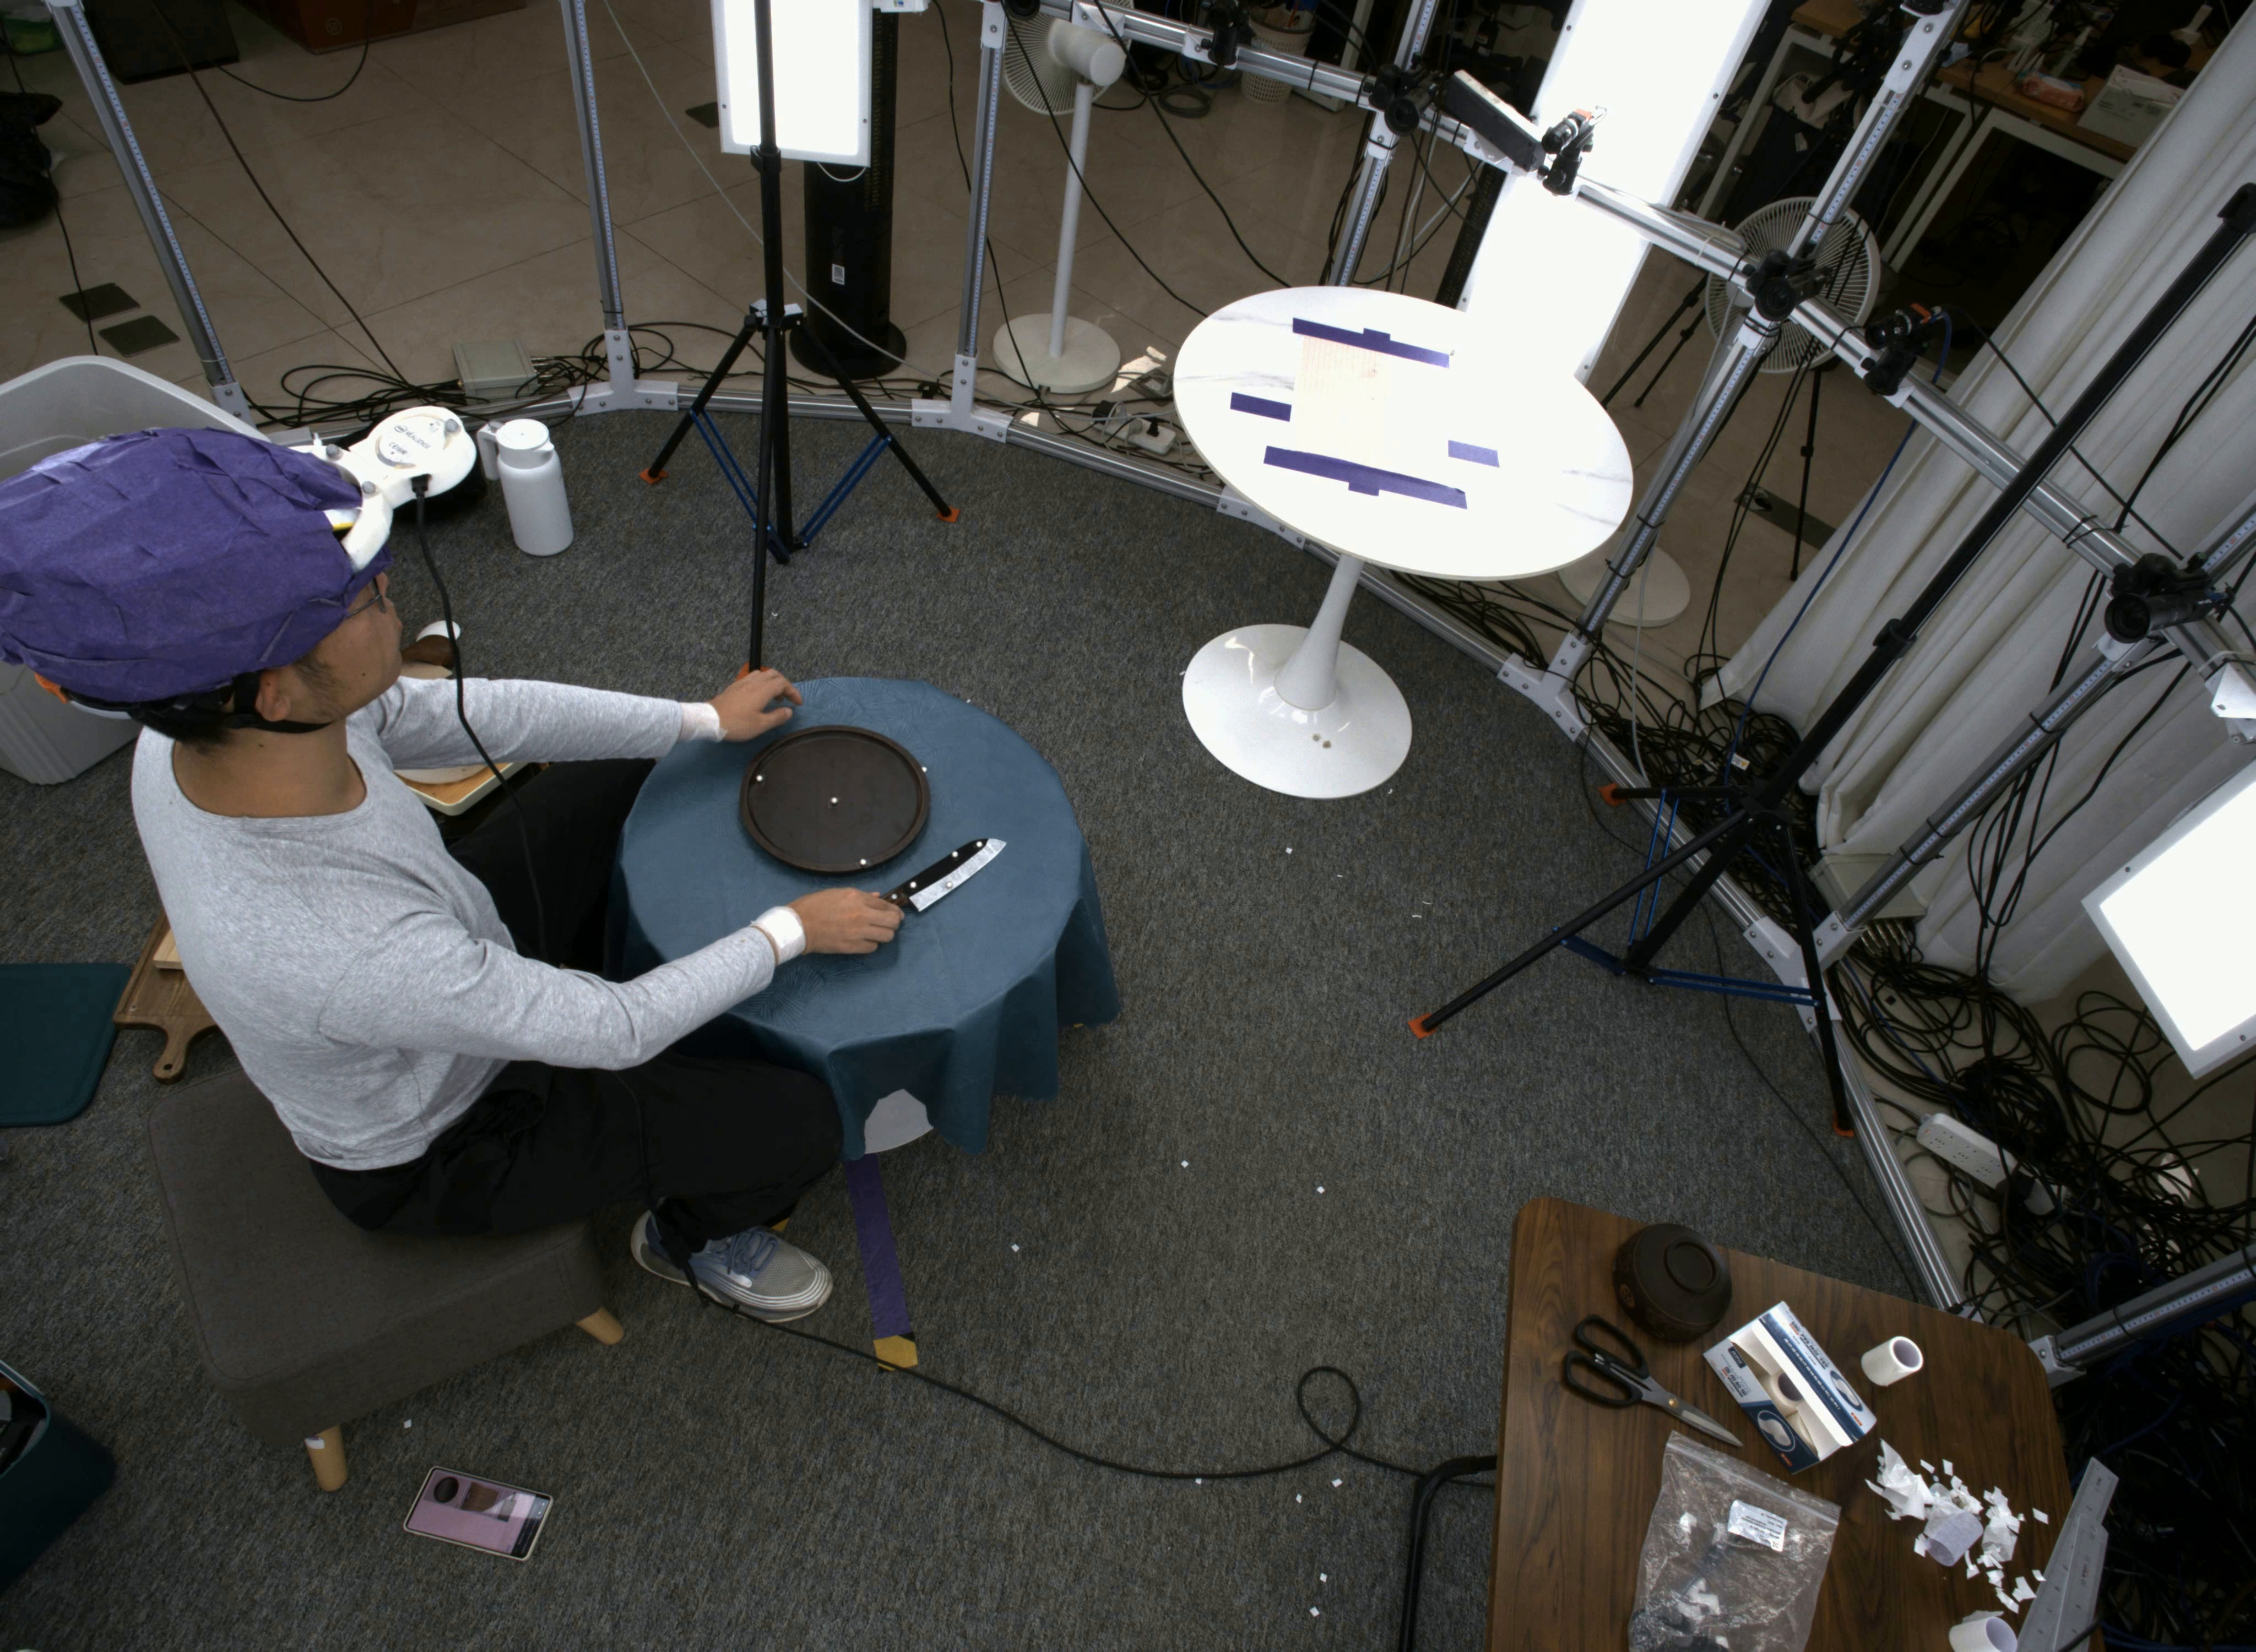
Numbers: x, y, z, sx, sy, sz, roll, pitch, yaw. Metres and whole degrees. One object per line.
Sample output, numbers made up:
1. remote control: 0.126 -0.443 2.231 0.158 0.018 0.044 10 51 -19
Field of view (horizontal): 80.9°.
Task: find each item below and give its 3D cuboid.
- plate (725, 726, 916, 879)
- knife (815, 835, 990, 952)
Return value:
1. plate: -0.413 -0.034 1.748 0.254 0.029 0.250 8 55 -9
2. knife: -0.287 0.082 1.694 0.290 0.020 0.050 -34 83 -37
